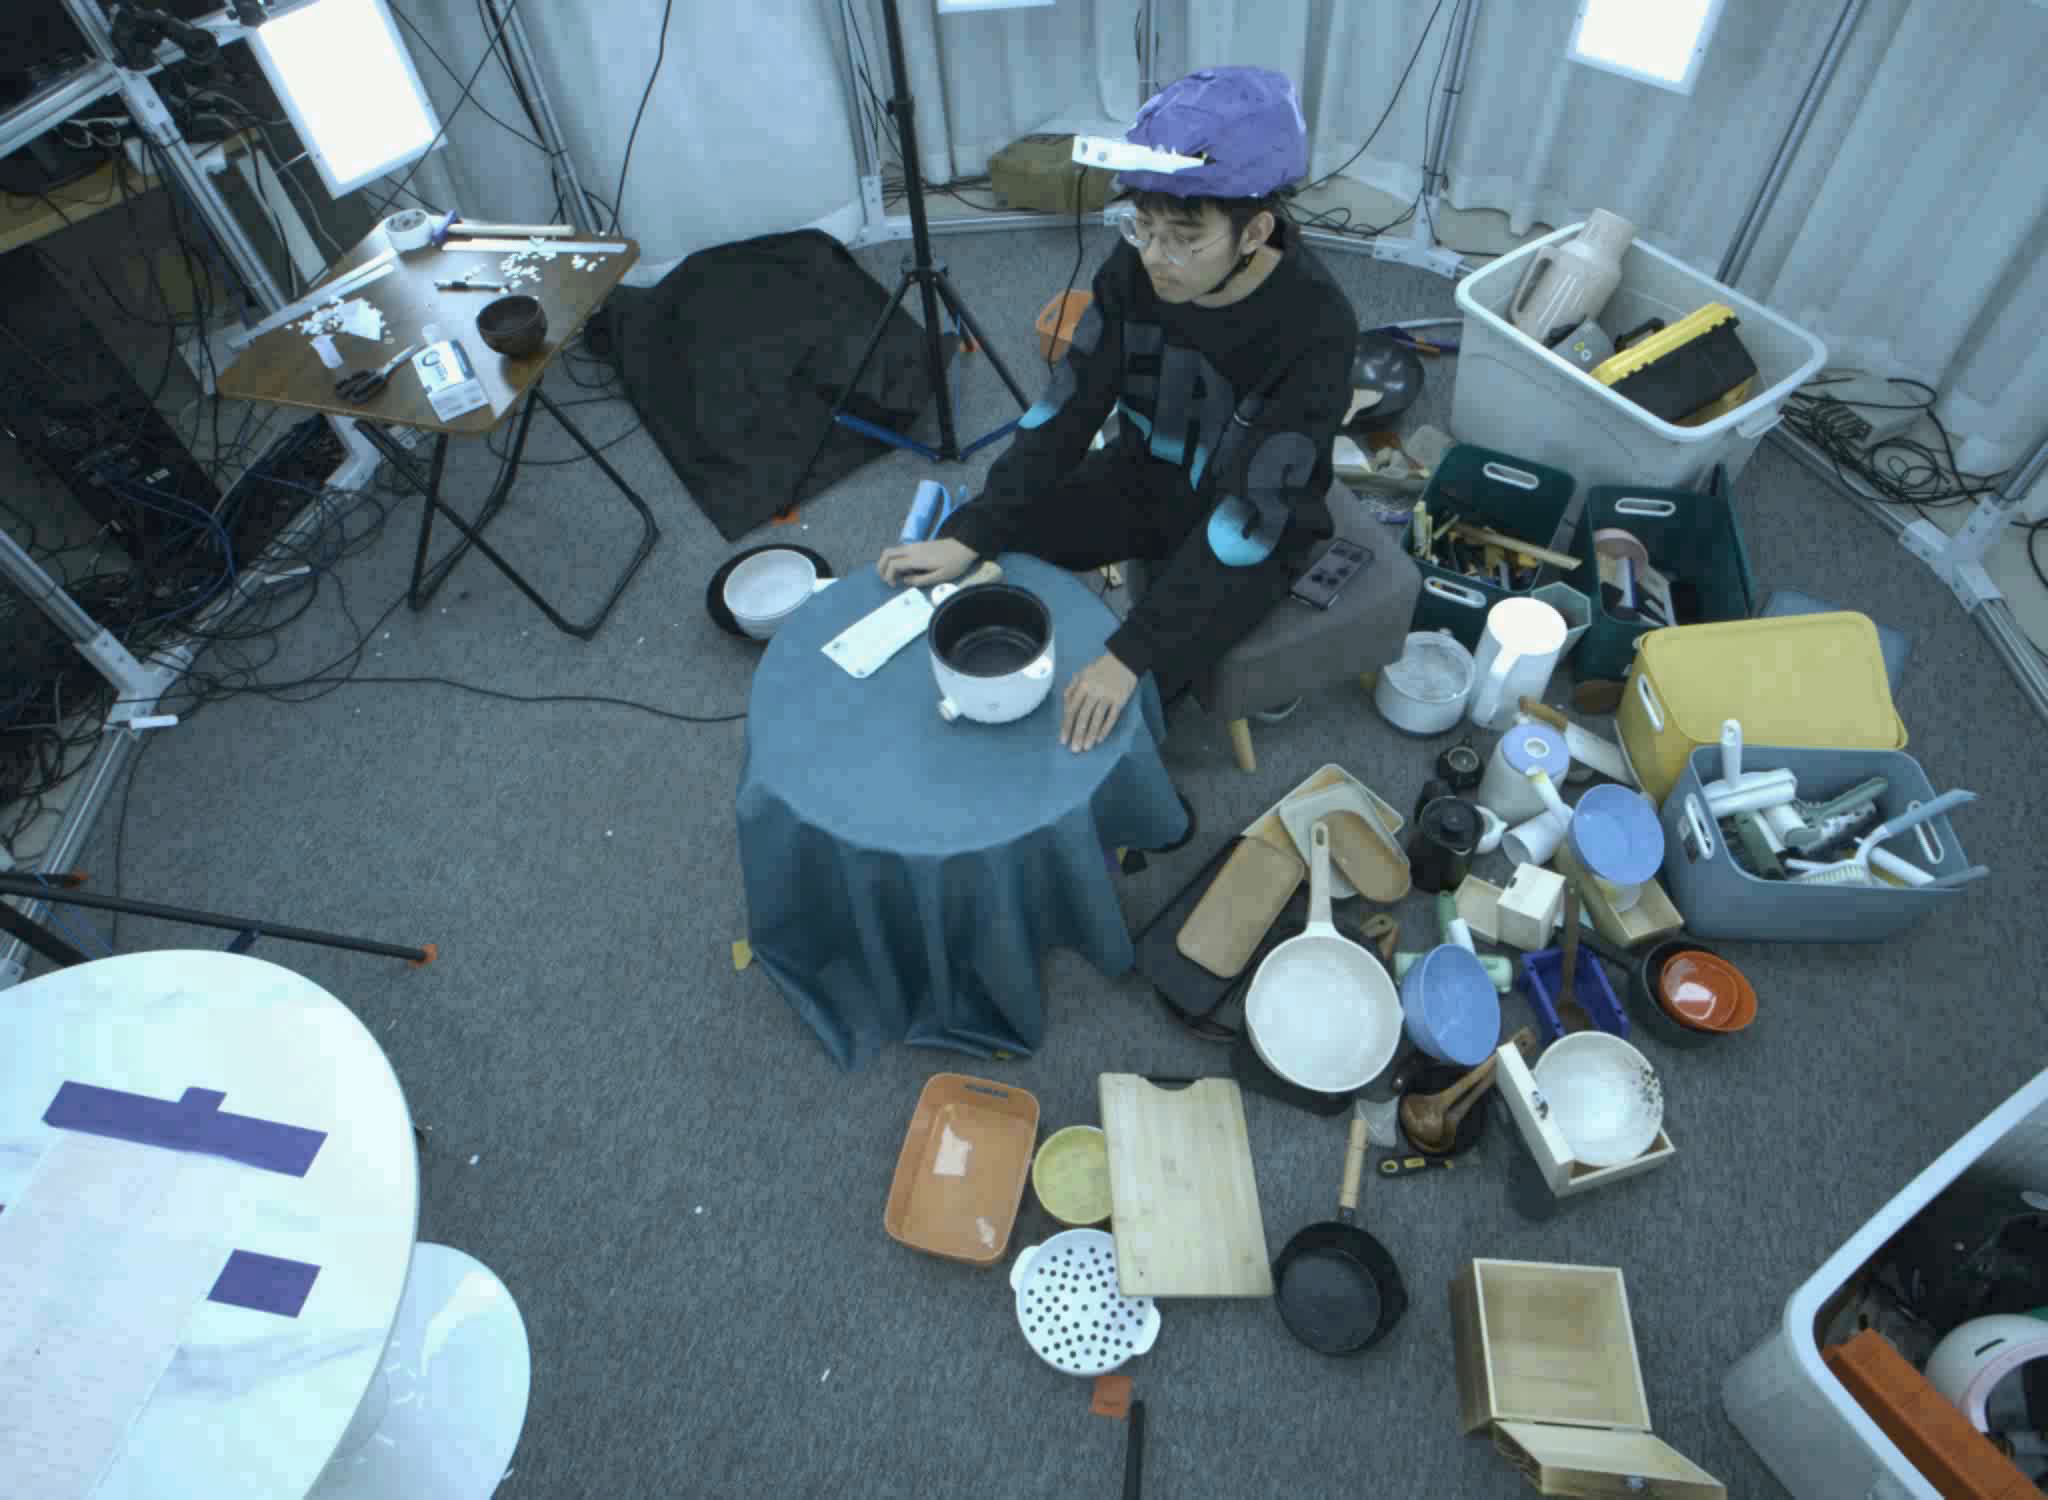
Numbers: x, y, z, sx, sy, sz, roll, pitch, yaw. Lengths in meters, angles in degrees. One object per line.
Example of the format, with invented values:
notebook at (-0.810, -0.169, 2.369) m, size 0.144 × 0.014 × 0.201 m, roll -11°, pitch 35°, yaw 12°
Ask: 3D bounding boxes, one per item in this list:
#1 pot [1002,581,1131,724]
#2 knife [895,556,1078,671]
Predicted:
pot at (0.059, -0.130, 1.791) m, size 0.192 × 0.144 × 0.236 m, roll -33°, pitch 58°, yaw -22°
knife at (-0.051, -0.222, 1.935) m, size 0.317 × 0.022 × 0.112 m, roll -30°, pitch 59°, yaw -15°
